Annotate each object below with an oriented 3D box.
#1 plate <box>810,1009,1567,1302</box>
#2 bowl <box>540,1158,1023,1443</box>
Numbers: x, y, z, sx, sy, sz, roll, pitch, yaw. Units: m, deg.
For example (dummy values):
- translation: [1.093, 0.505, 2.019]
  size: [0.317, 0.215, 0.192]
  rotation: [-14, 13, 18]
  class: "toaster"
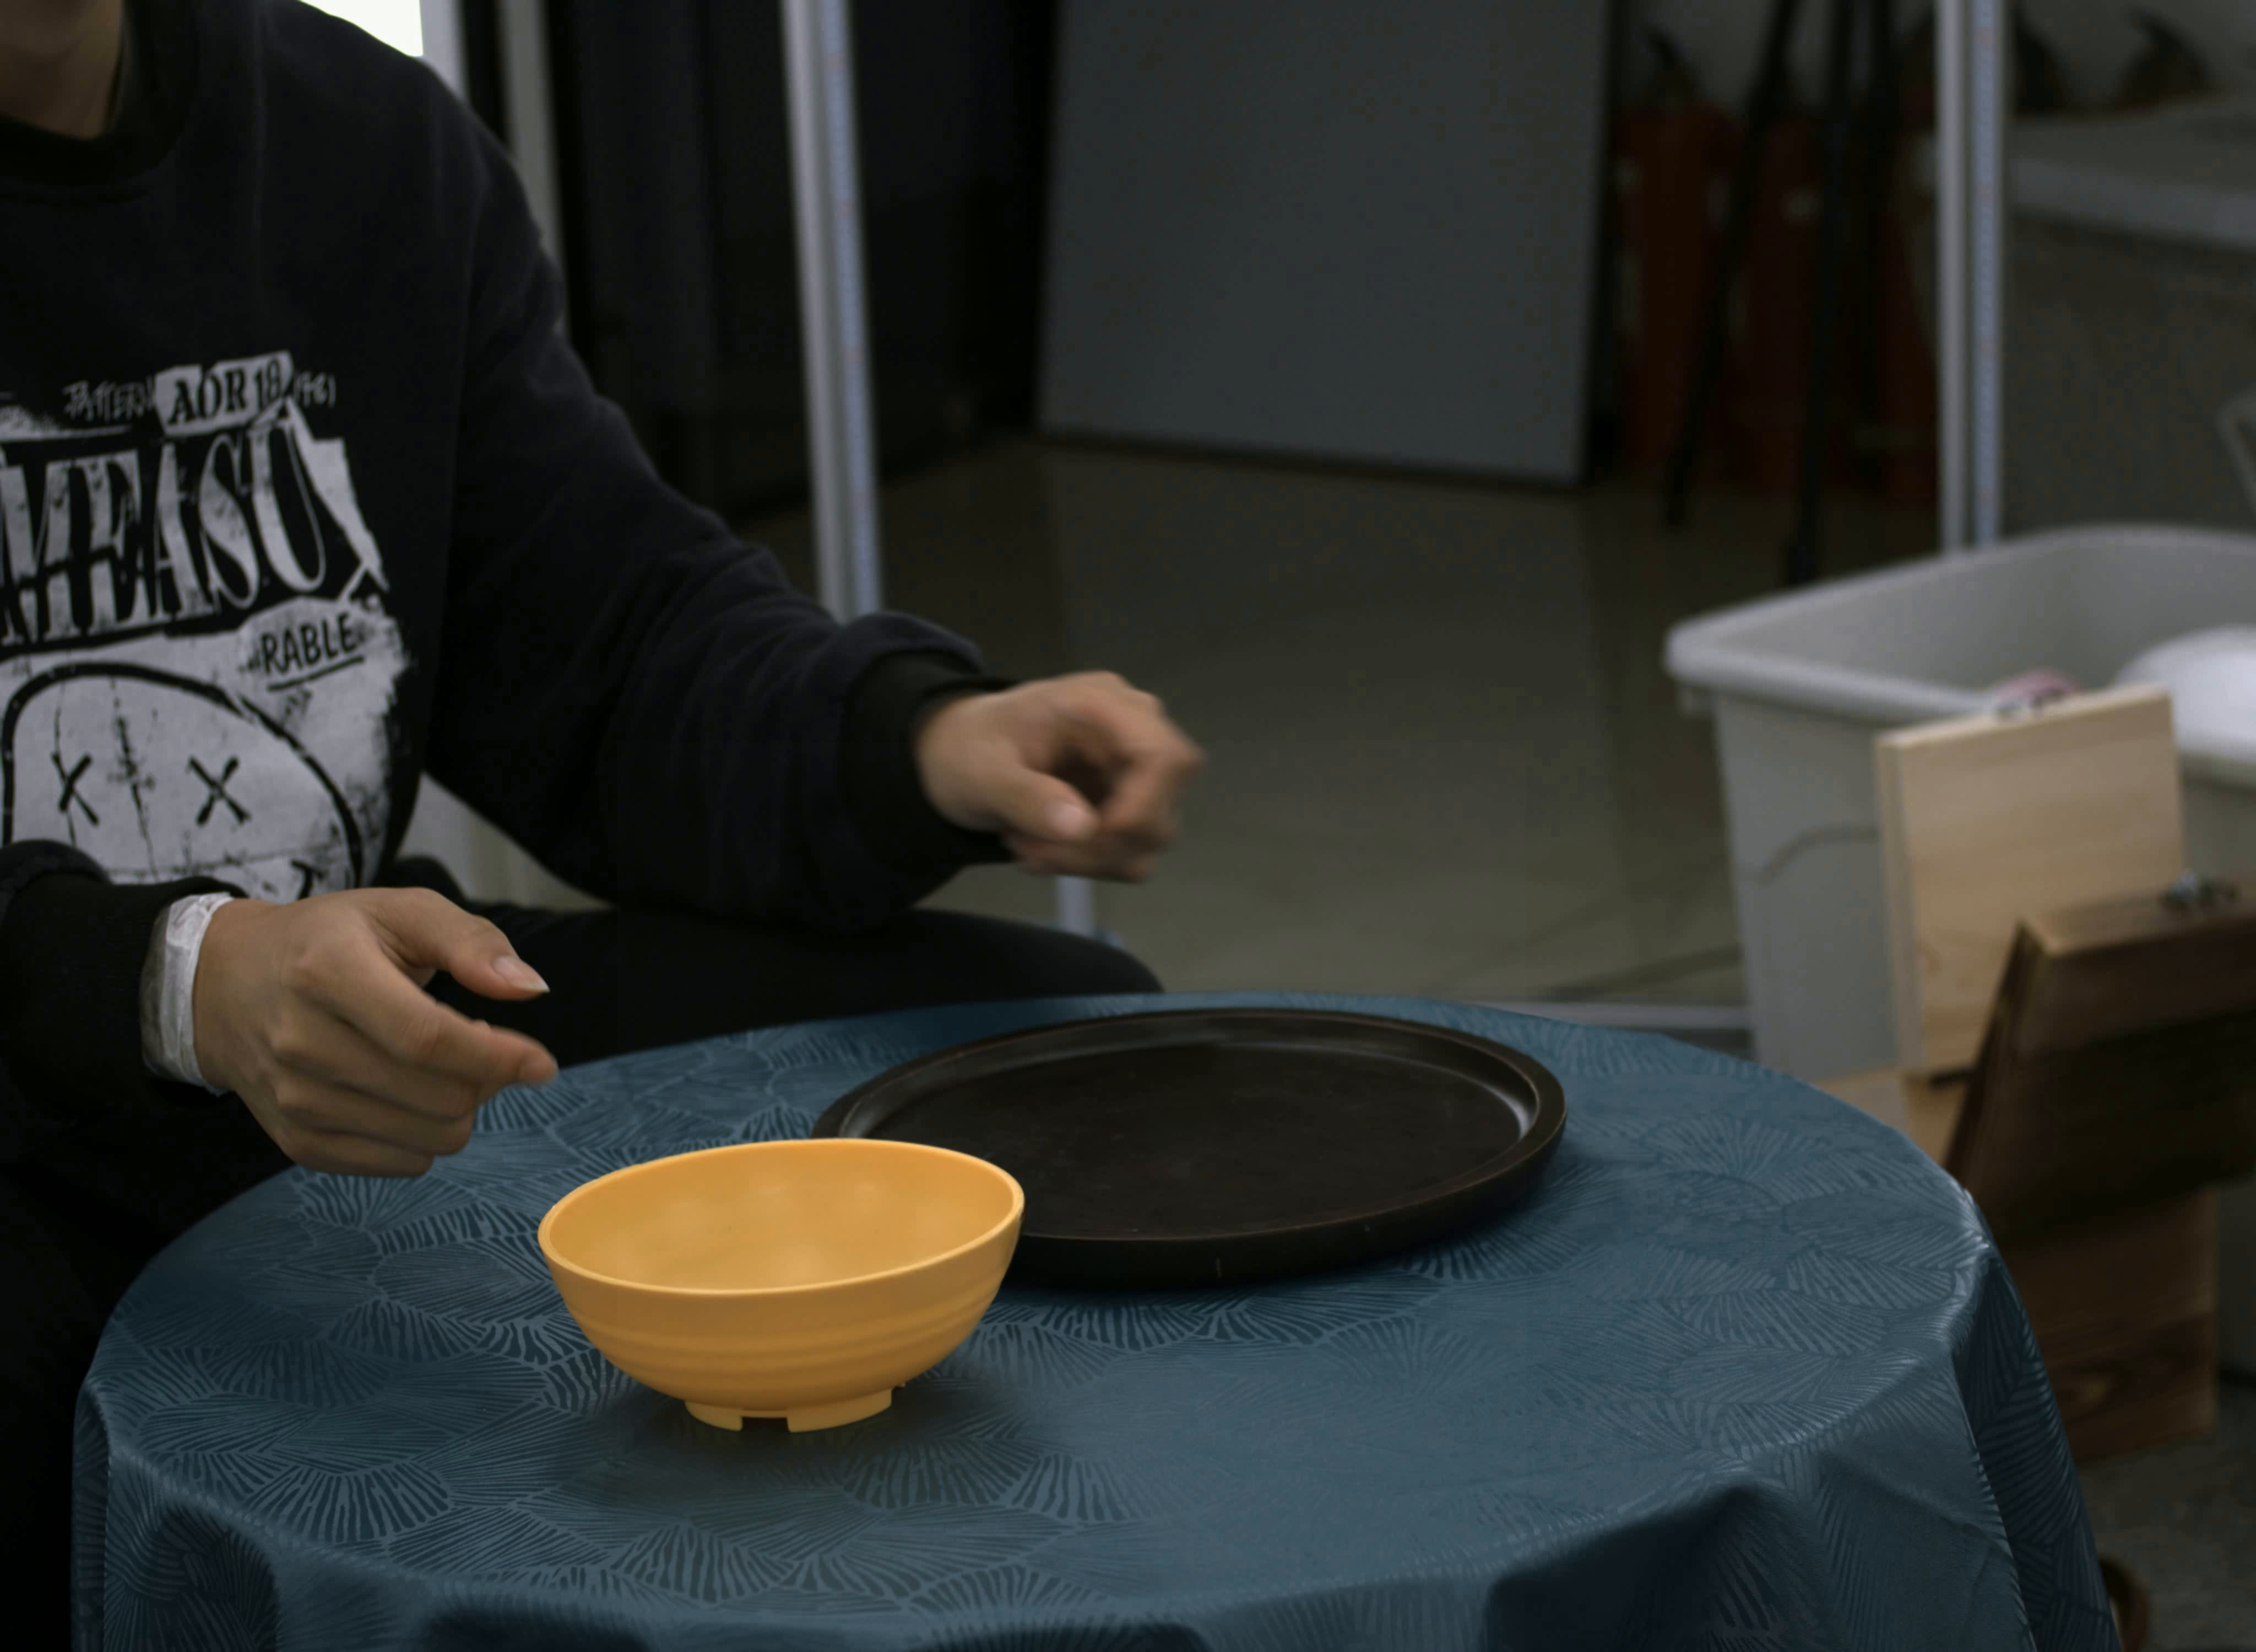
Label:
- translation: [0.021, 0.106, 1.779]
  size: [0.251, 0.029, 0.255]
  rotation: [-6, 14, 1]
  class: "plate"
- translation: [-0.100, 0.144, 1.594]
  size: [0.143, 0.061, 0.145]
  rotation: [-4, 11, 0]
  class: "bowl"
